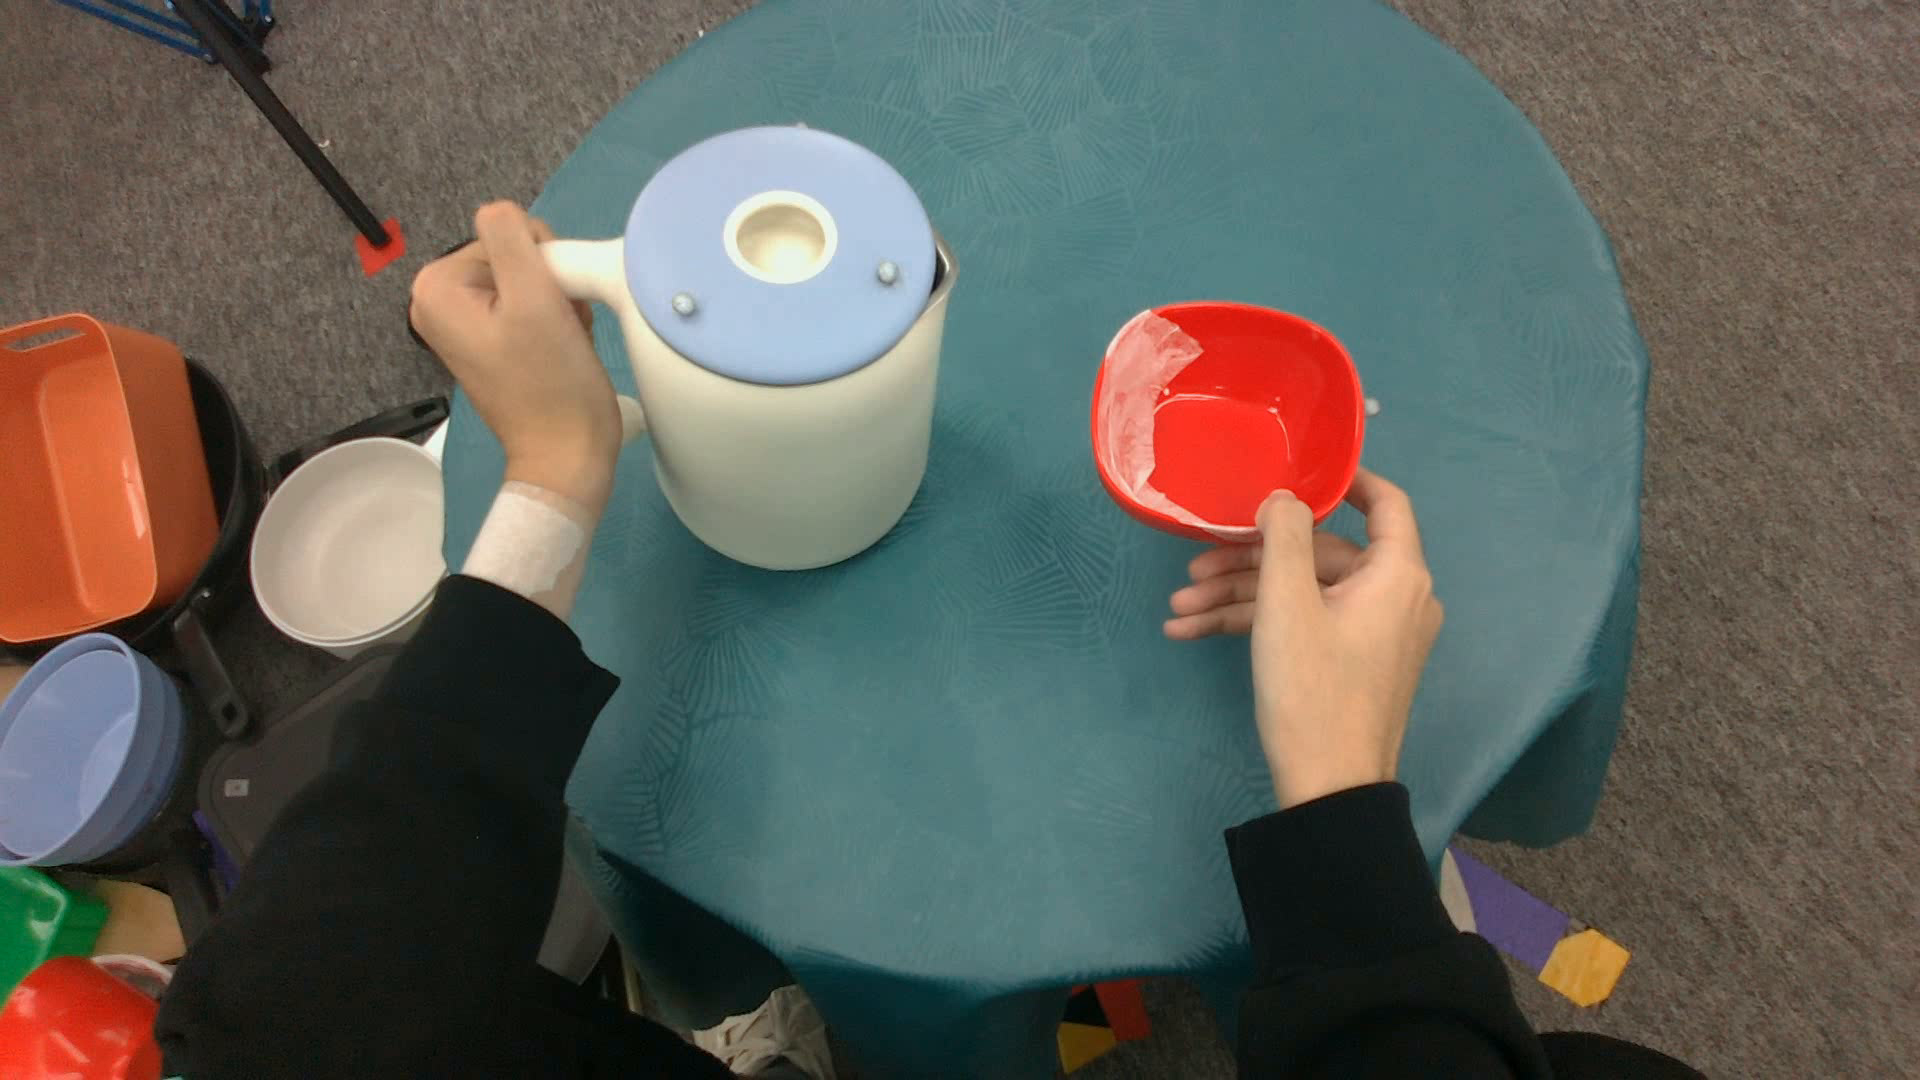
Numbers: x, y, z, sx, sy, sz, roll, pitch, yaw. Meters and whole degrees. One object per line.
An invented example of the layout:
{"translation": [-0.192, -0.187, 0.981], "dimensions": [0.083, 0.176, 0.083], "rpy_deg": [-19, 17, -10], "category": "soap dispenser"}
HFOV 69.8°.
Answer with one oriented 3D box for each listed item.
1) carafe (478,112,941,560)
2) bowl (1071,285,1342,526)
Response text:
{"translation": [-0.108, -0.083, 0.597], "dimensions": [0.191, 0.182, 0.132], "rpy_deg": [2, 64, -4], "category": "carafe"}
{"translation": [0.100, -0.049, 0.582], "dimensions": [0.119, 0.051, 0.119], "rpy_deg": [1, 61, -1], "category": "bowl"}
